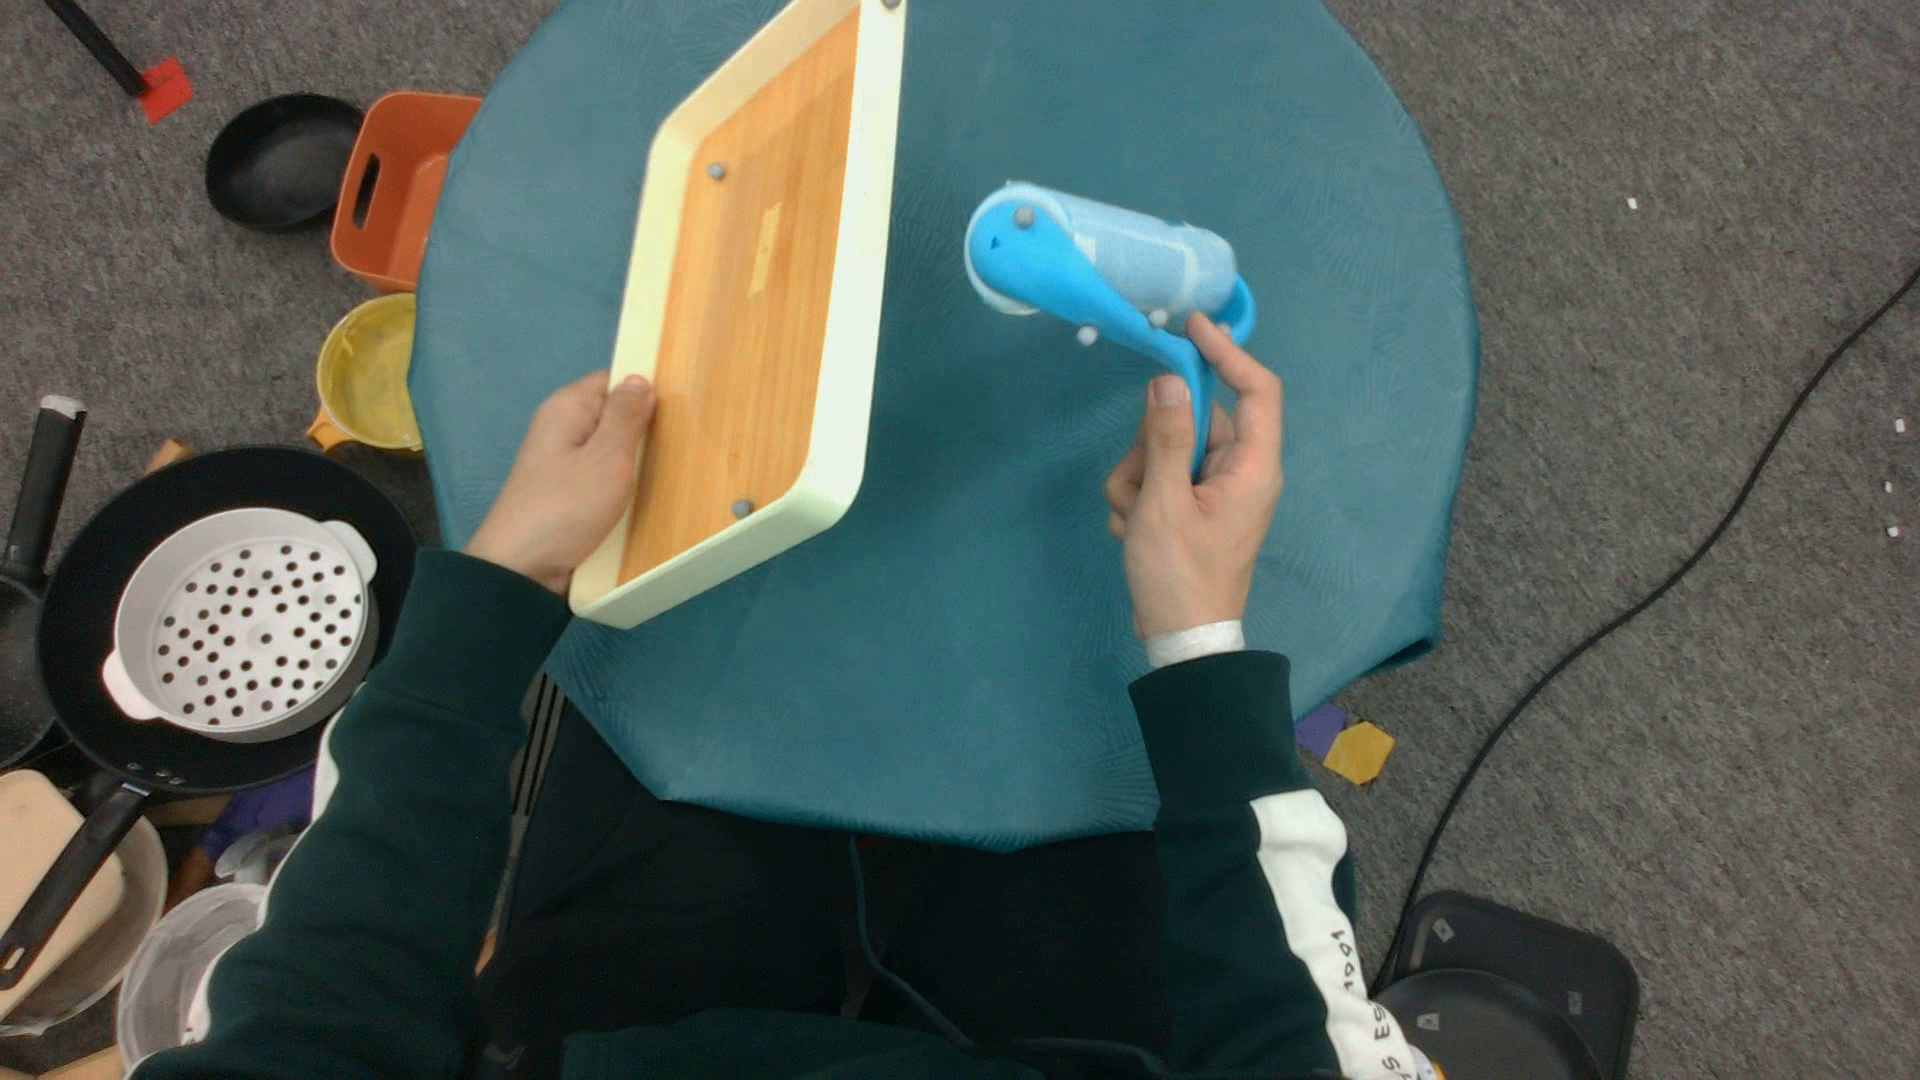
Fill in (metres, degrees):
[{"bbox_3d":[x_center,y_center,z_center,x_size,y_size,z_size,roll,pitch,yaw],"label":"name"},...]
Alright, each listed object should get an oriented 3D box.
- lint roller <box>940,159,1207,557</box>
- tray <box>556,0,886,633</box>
[{"bbox_3d":[0.072,-0.085,0.645,0.068,0.230,0.180,-15,95,24],"label":"lint roller"},{"bbox_3d":[-0.109,-0.118,0.637,0.027,0.191,0.301,24,57,-35],"label":"tray"}]
